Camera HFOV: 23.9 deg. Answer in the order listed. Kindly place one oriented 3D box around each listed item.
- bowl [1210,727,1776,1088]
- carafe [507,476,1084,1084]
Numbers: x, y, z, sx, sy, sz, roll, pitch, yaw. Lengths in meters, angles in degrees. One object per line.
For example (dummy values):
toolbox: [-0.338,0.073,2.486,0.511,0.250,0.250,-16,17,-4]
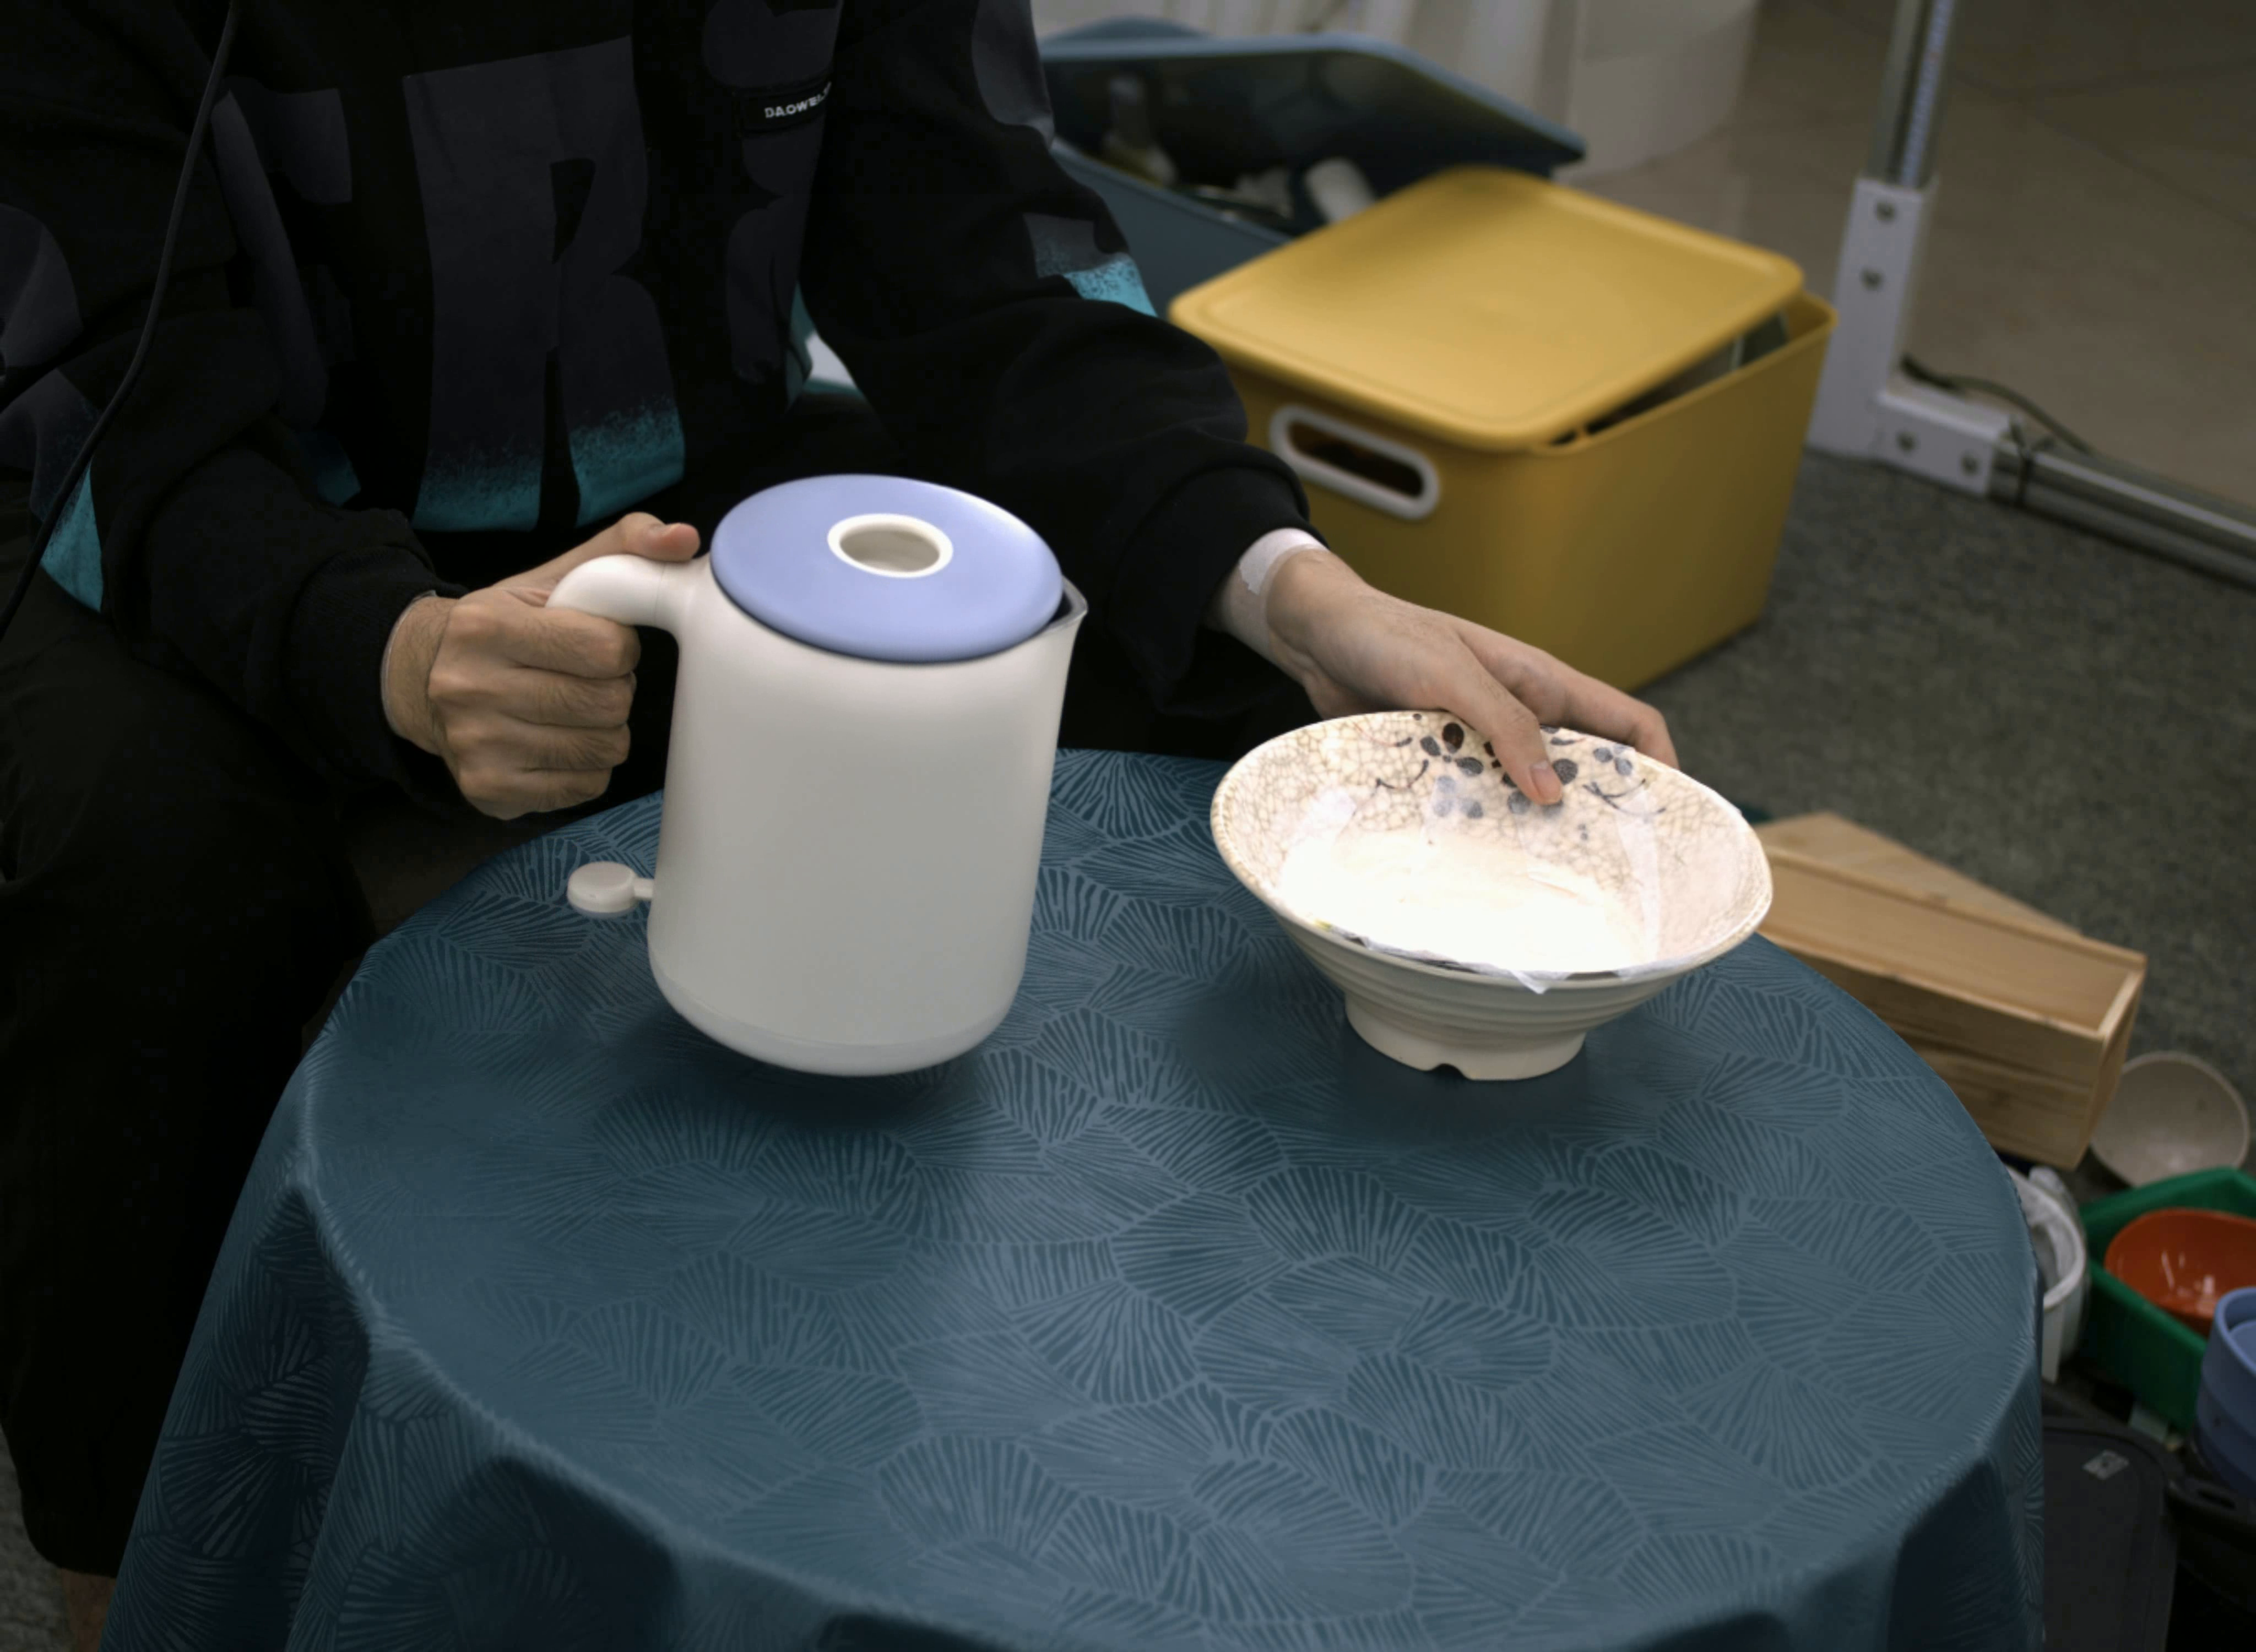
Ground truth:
bowl: [0.126,0.040,1.908,0.203,0.078,0.205,5,24,-3]
carafe: [-0.116,-0.019,1.809,0.191,0.182,0.133,7,29,2]
